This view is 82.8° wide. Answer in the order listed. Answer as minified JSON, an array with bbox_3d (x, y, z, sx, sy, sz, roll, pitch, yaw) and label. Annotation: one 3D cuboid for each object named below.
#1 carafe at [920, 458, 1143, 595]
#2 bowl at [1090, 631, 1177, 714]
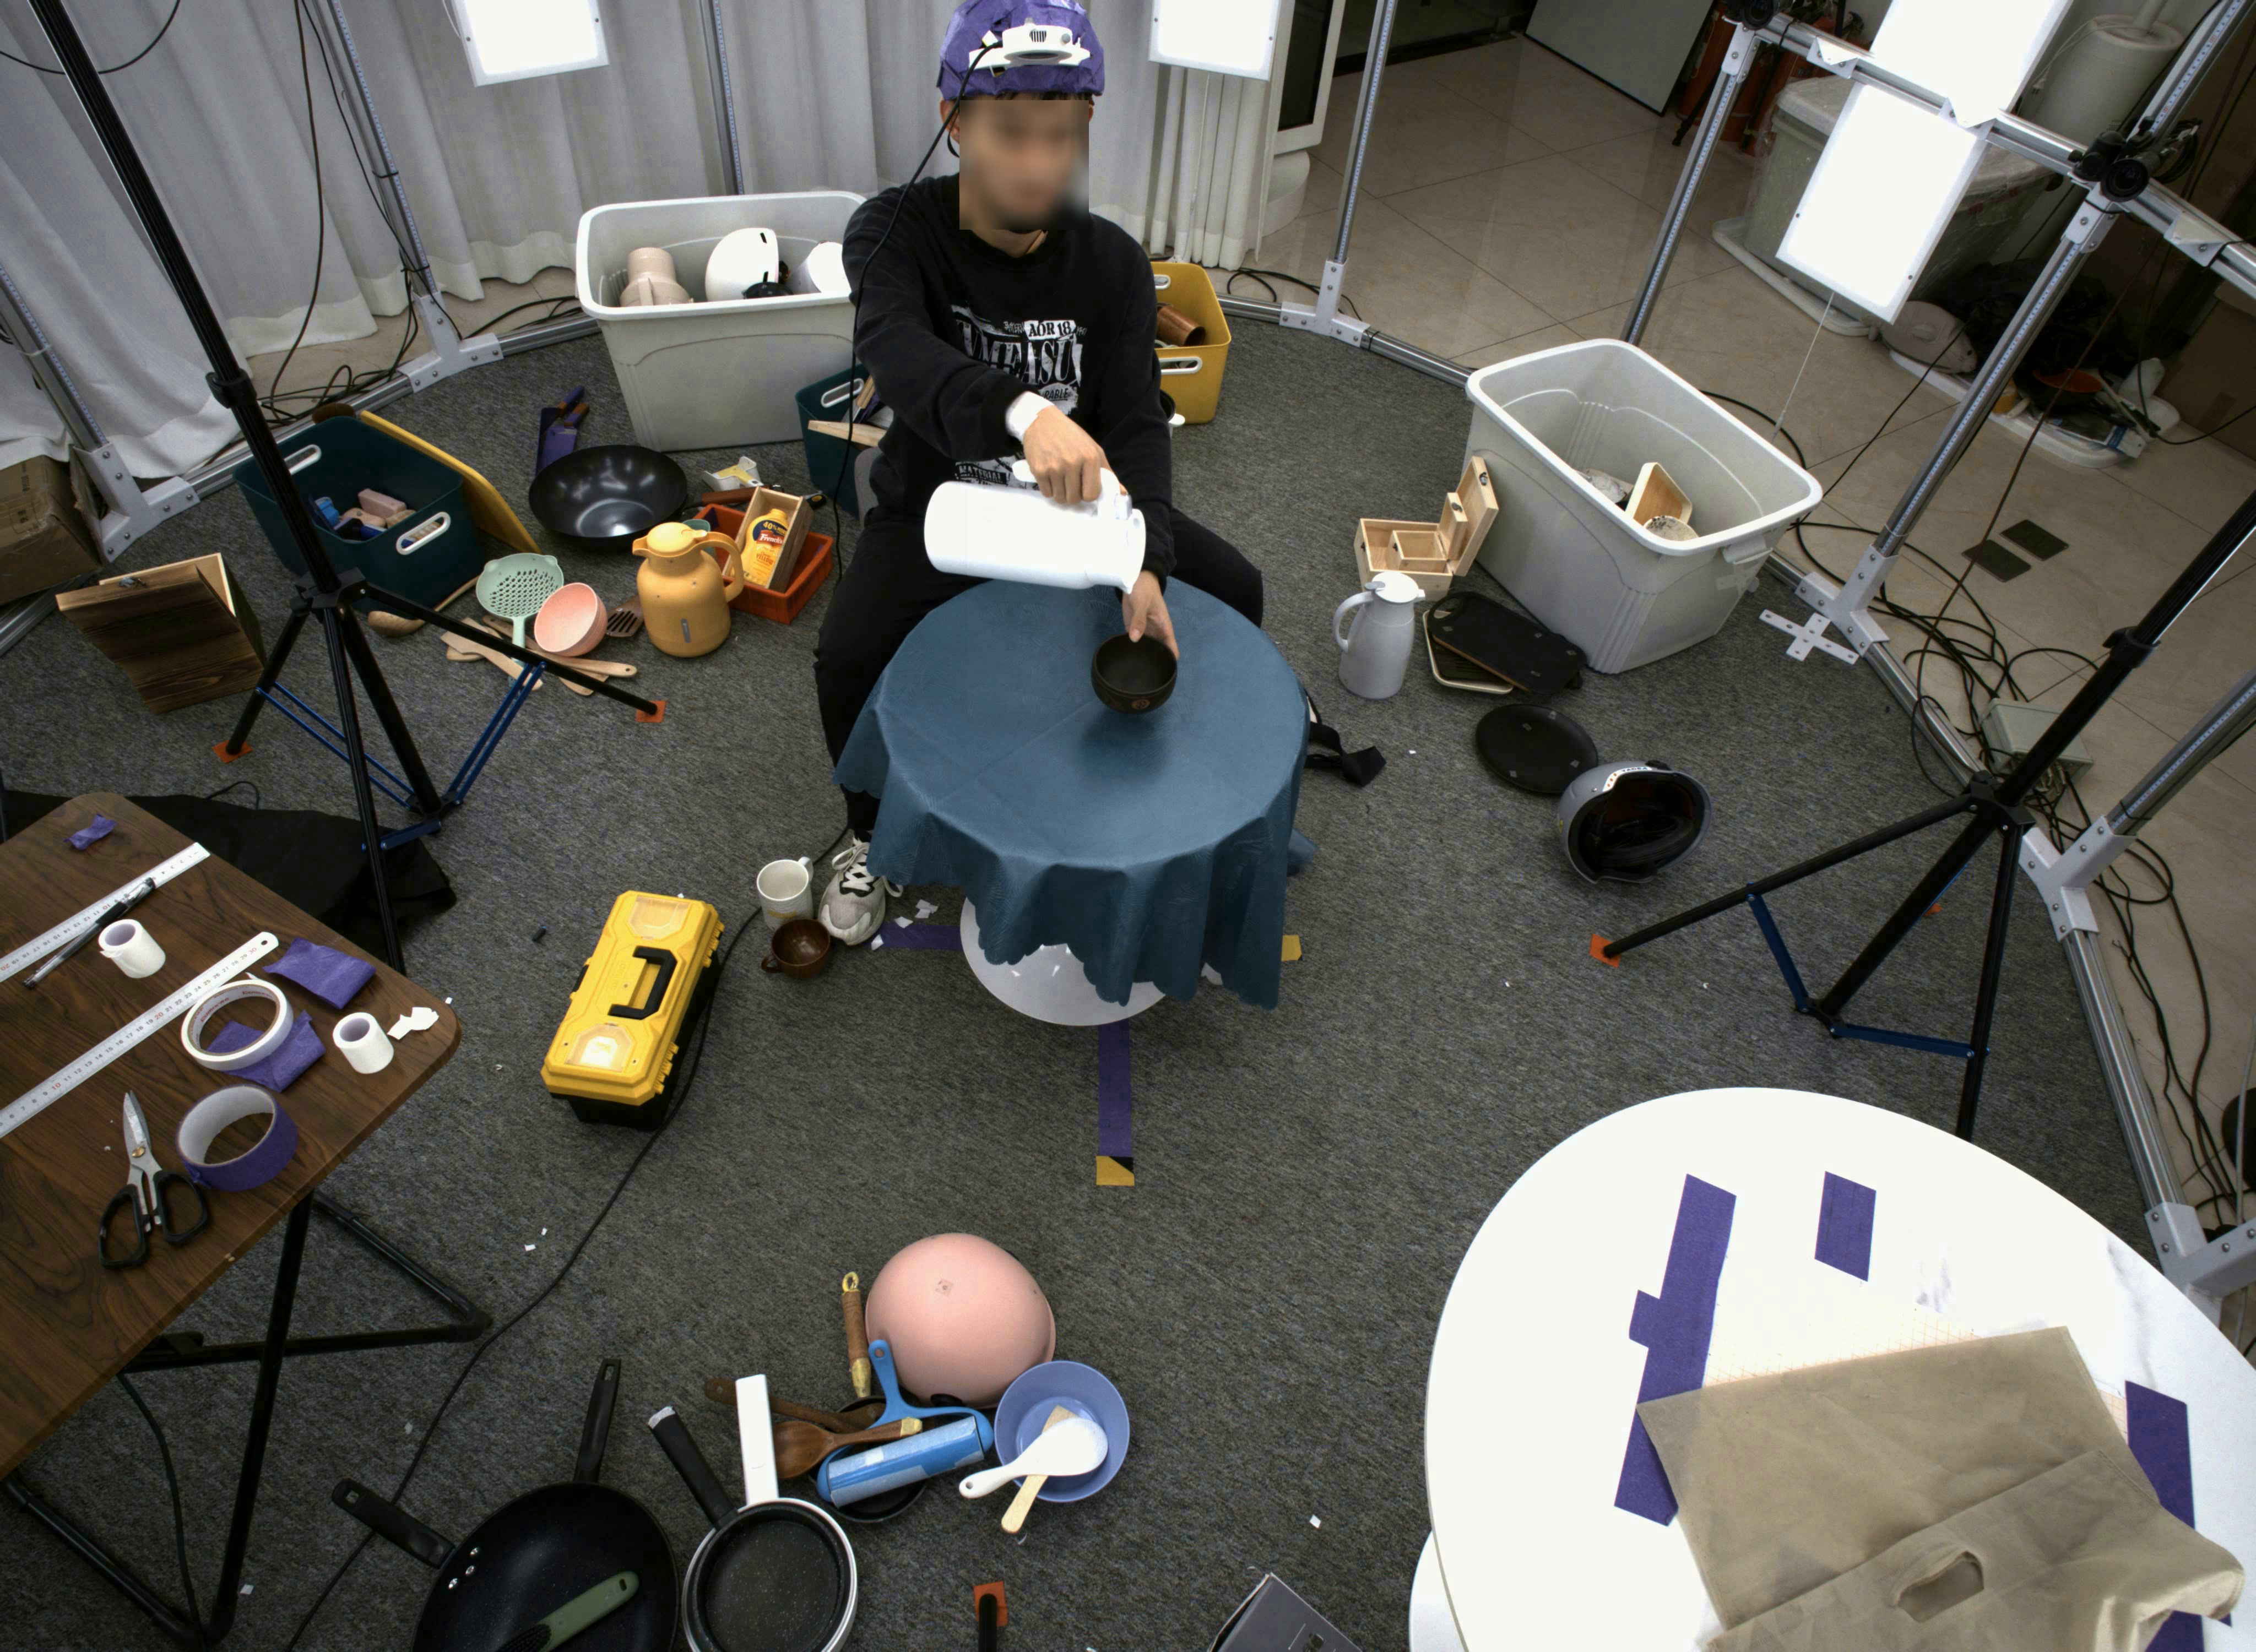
[{"bbox_3d":[-0.122,-0.378,1.622,0.270,0.168,0.126,12,48,18],"label":"carafe"},{"bbox_3d":[0.006,-0.201,1.747,0.118,0.068,0.121,2,52,-3],"label":"bowl"}]
